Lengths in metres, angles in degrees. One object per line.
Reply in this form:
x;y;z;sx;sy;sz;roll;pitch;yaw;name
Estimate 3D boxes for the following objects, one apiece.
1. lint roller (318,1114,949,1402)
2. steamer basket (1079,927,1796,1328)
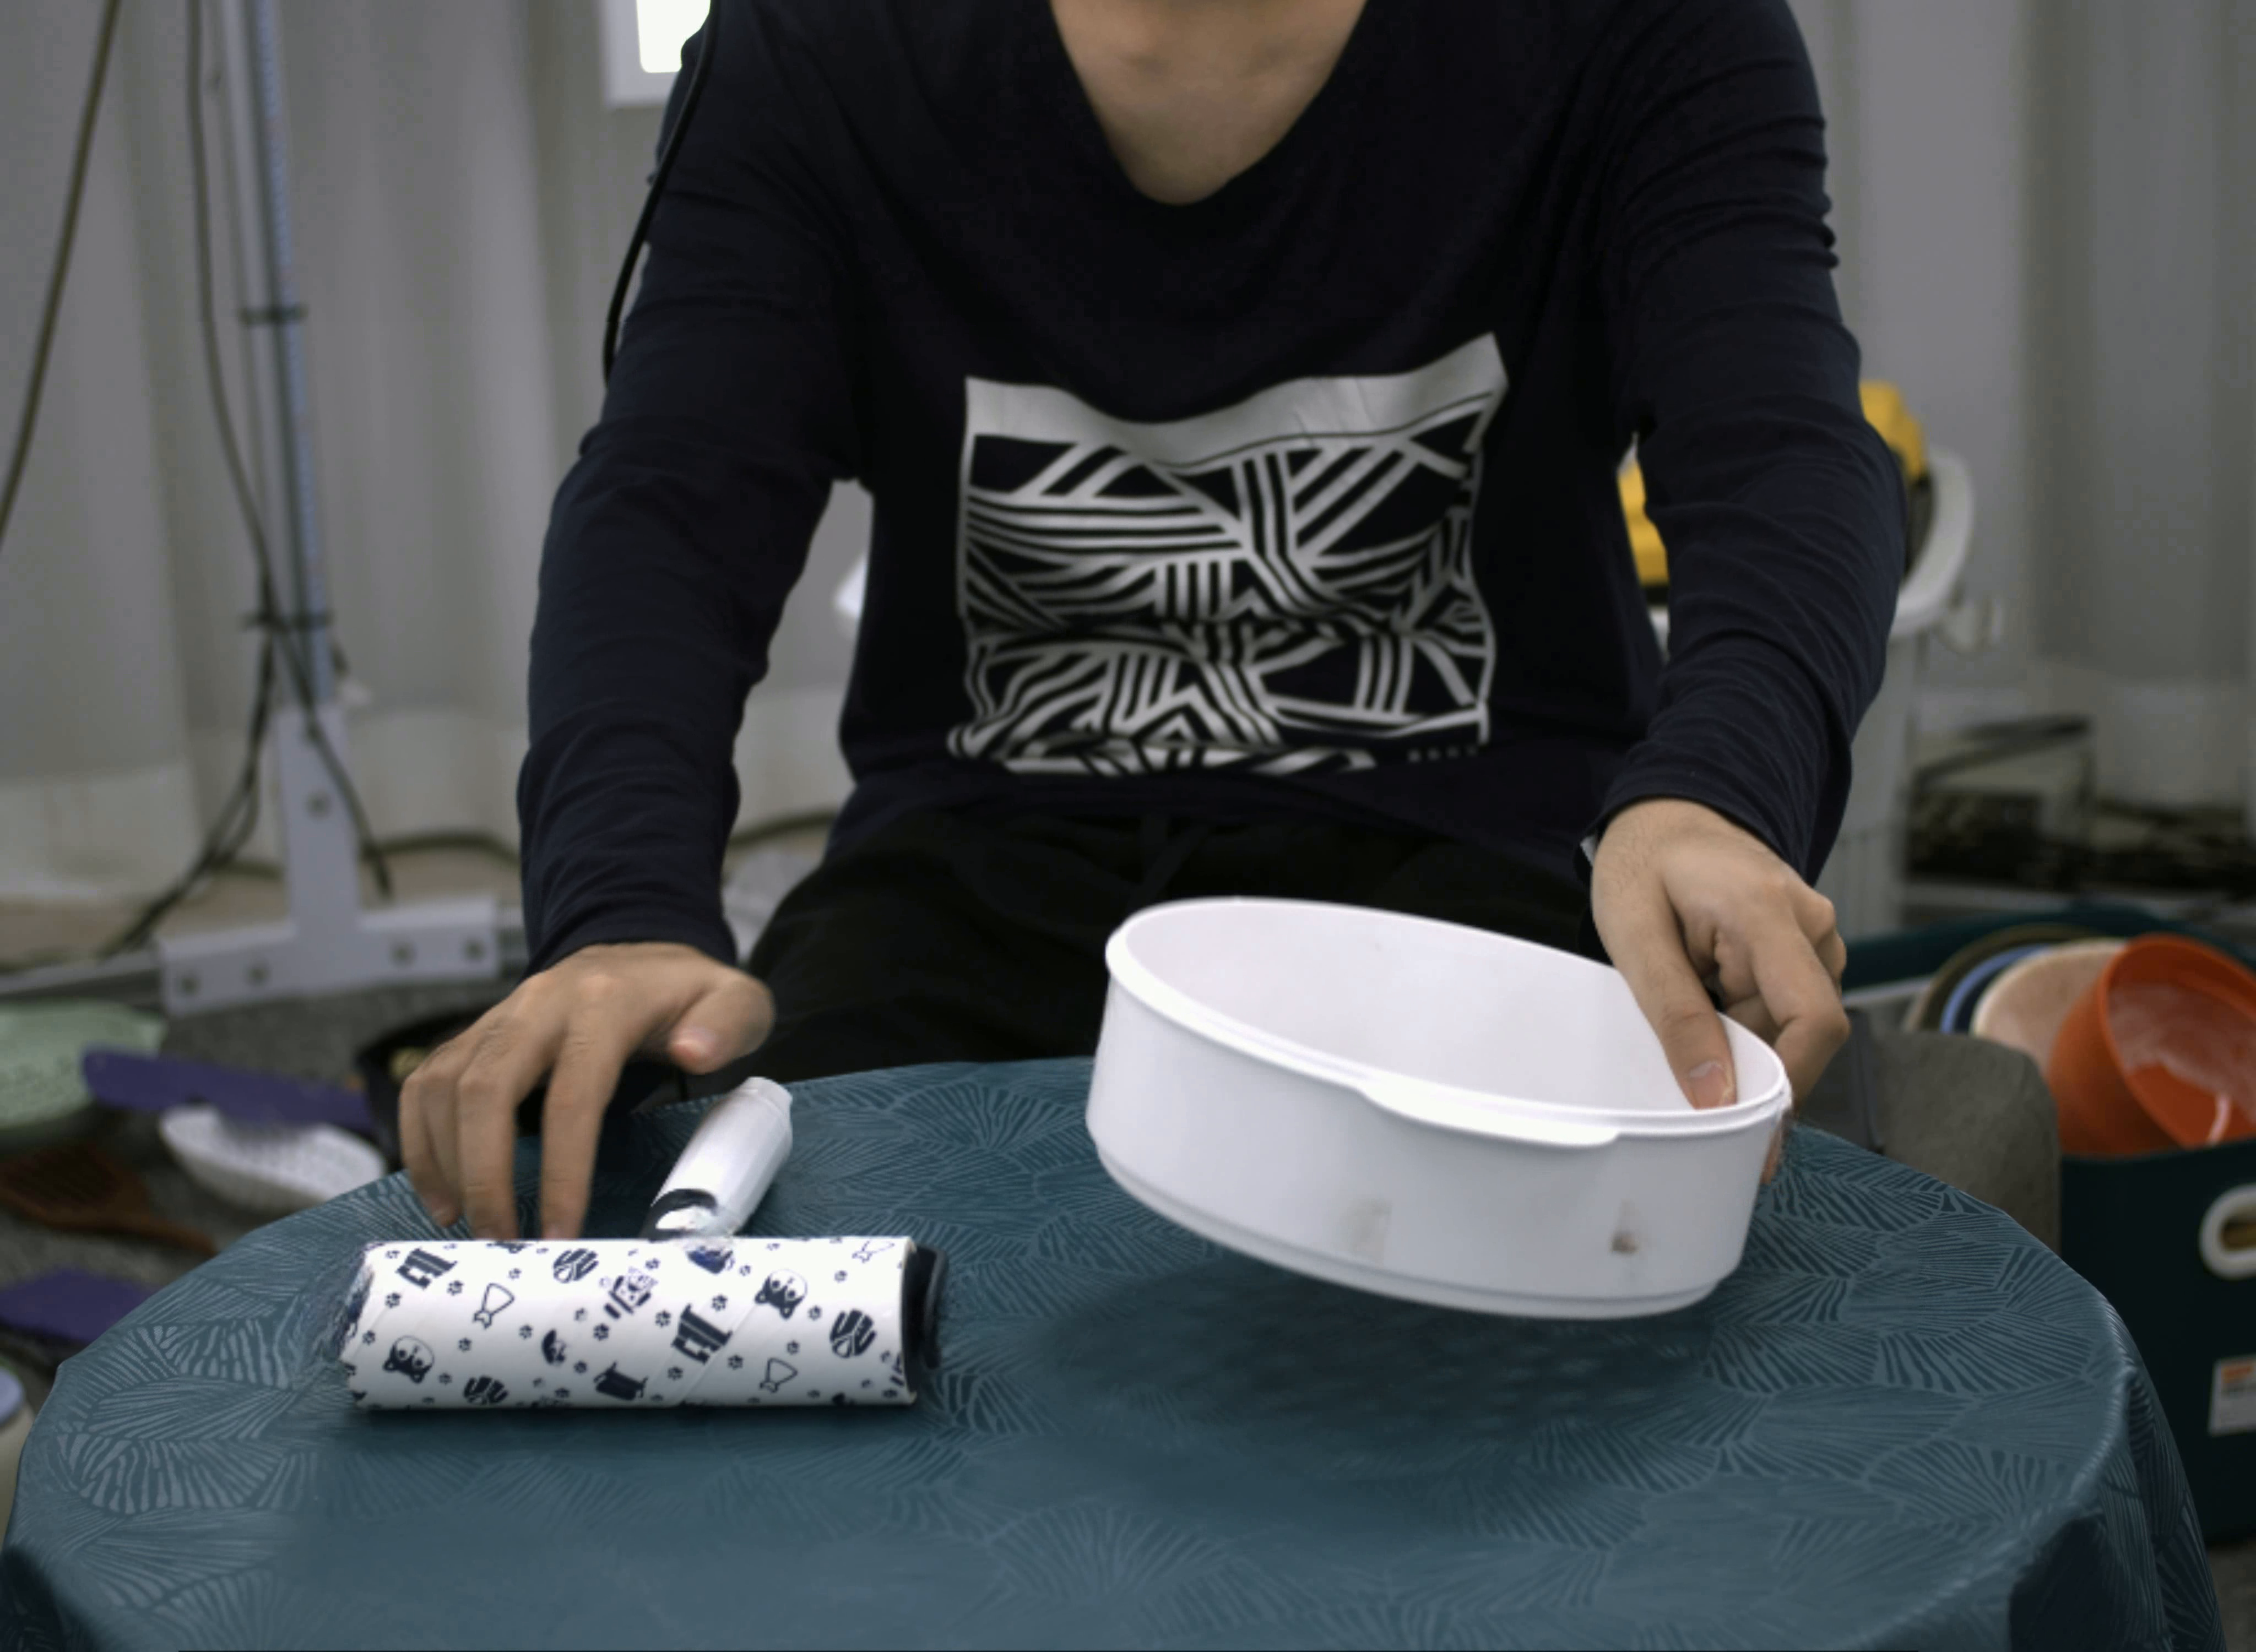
-0.133;0.119;1.650;0.176;0.050;0.248;-2;11;5;lint roller
0.087;0.087;1.567;0.201;0.069;0.232;10;10;-5;steamer basket
